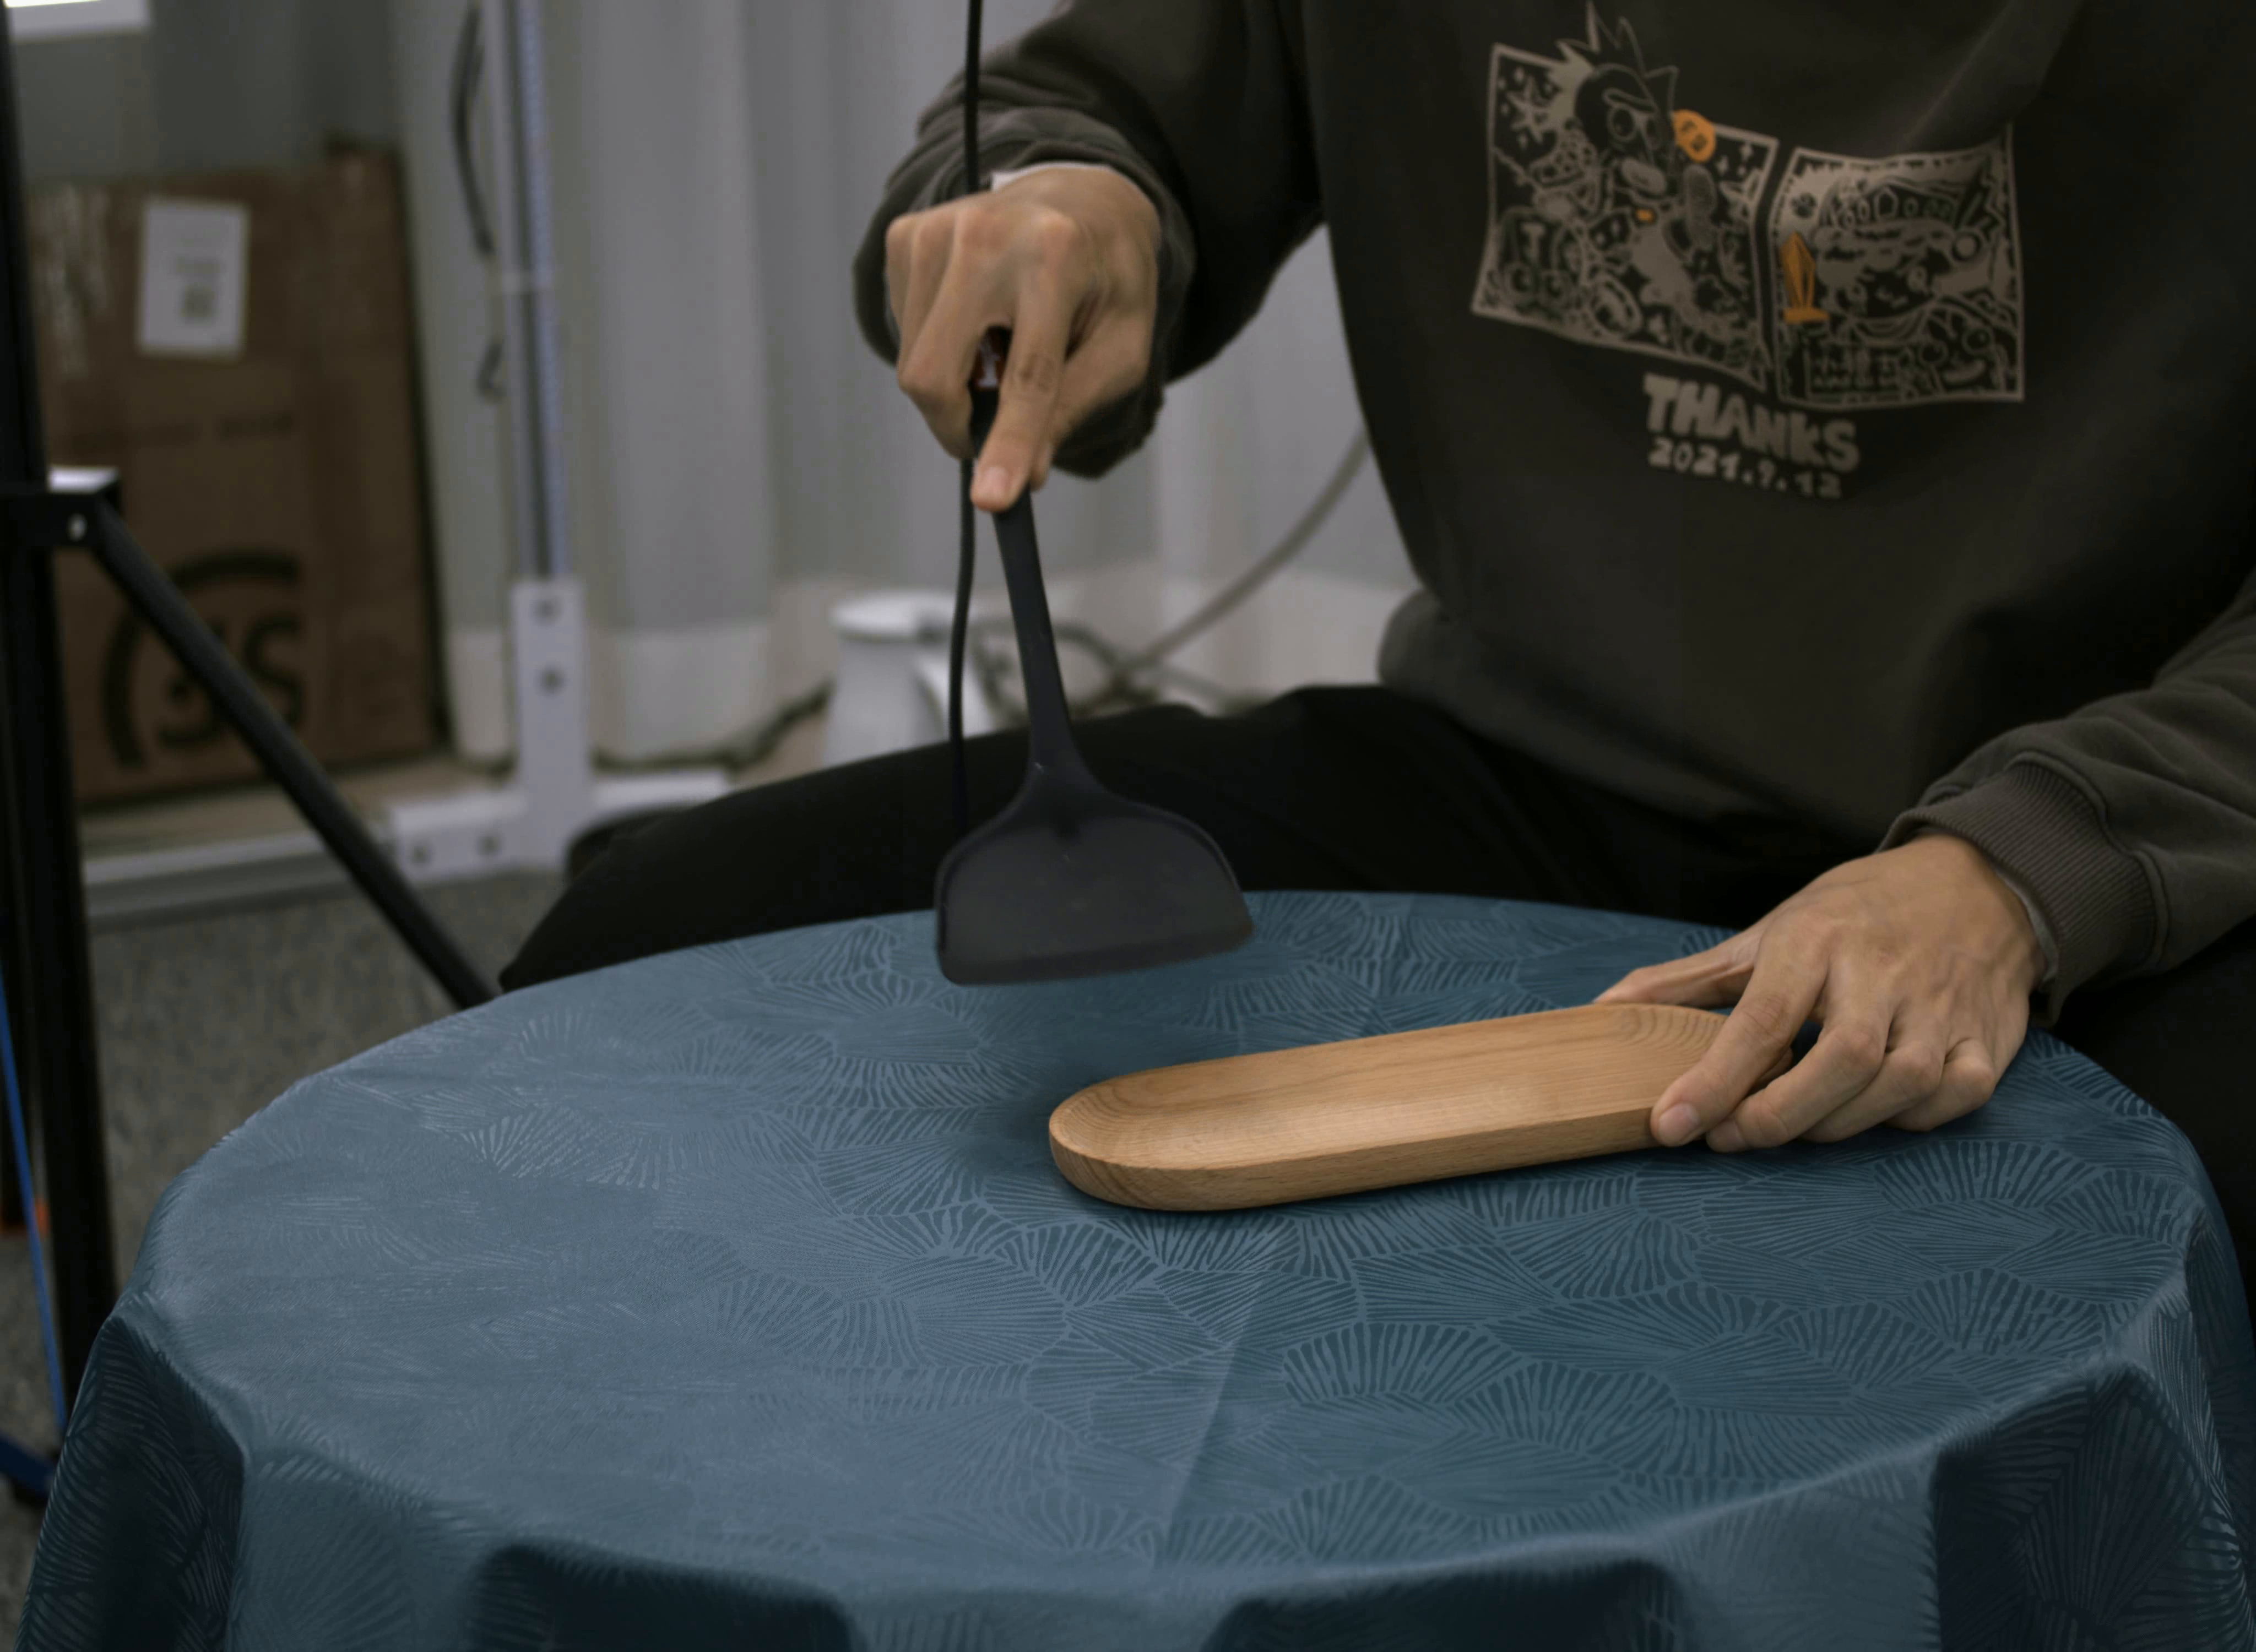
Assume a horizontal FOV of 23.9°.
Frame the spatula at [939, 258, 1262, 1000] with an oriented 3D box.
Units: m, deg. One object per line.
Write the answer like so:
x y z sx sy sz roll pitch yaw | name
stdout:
-0.030 -0.070 1.710 0.099 0.040 0.331 -8 53 -5 | spatula

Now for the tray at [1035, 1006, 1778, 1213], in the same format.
0.085 0.086 1.597 0.228 0.020 0.103 -9 15 -14 | tray
